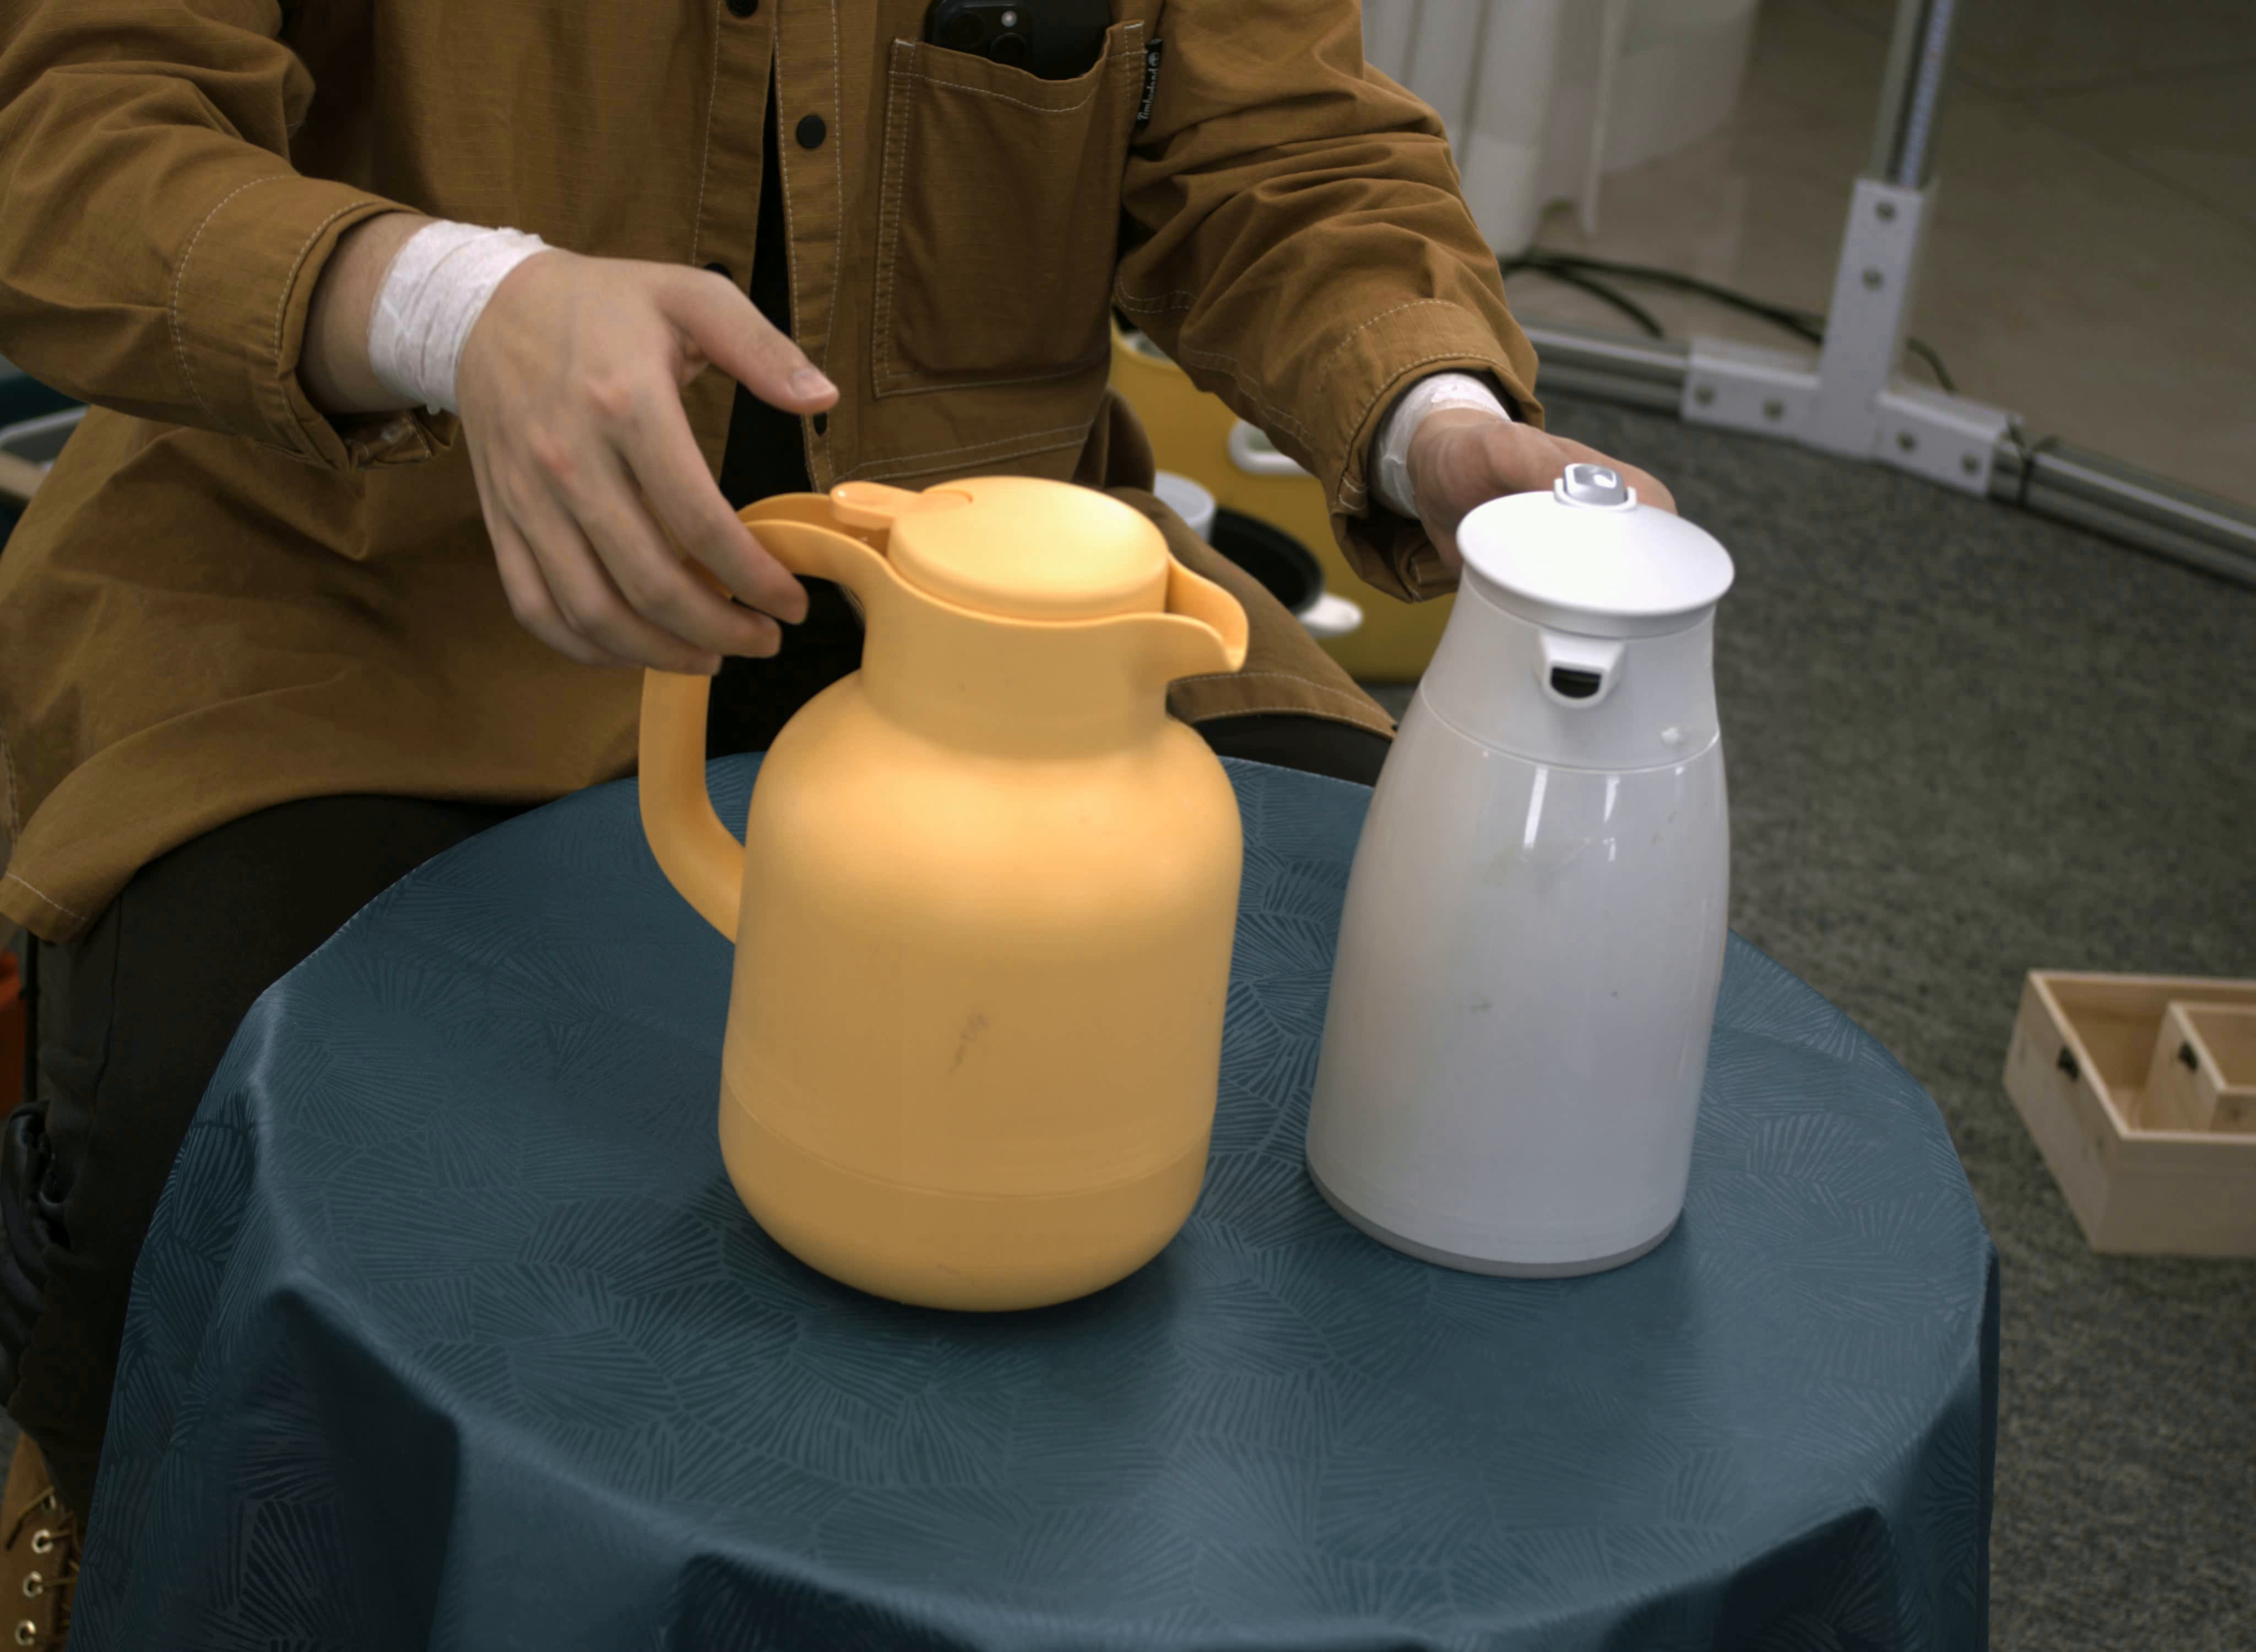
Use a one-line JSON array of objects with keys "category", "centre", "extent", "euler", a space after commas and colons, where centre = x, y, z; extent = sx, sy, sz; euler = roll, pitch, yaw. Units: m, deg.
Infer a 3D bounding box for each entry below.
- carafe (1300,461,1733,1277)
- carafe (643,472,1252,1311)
[{"category": "carafe", "centre": [0.139, 0.003, 1.800], "extent": [0.132, 0.248, 0.168], "euler": [9, 26, 3]}, {"category": "carafe", "centre": [-0.063, 0.011, 1.727], "extent": [0.203, 0.260, 0.163], "euler": [17, 26, 16]}]
